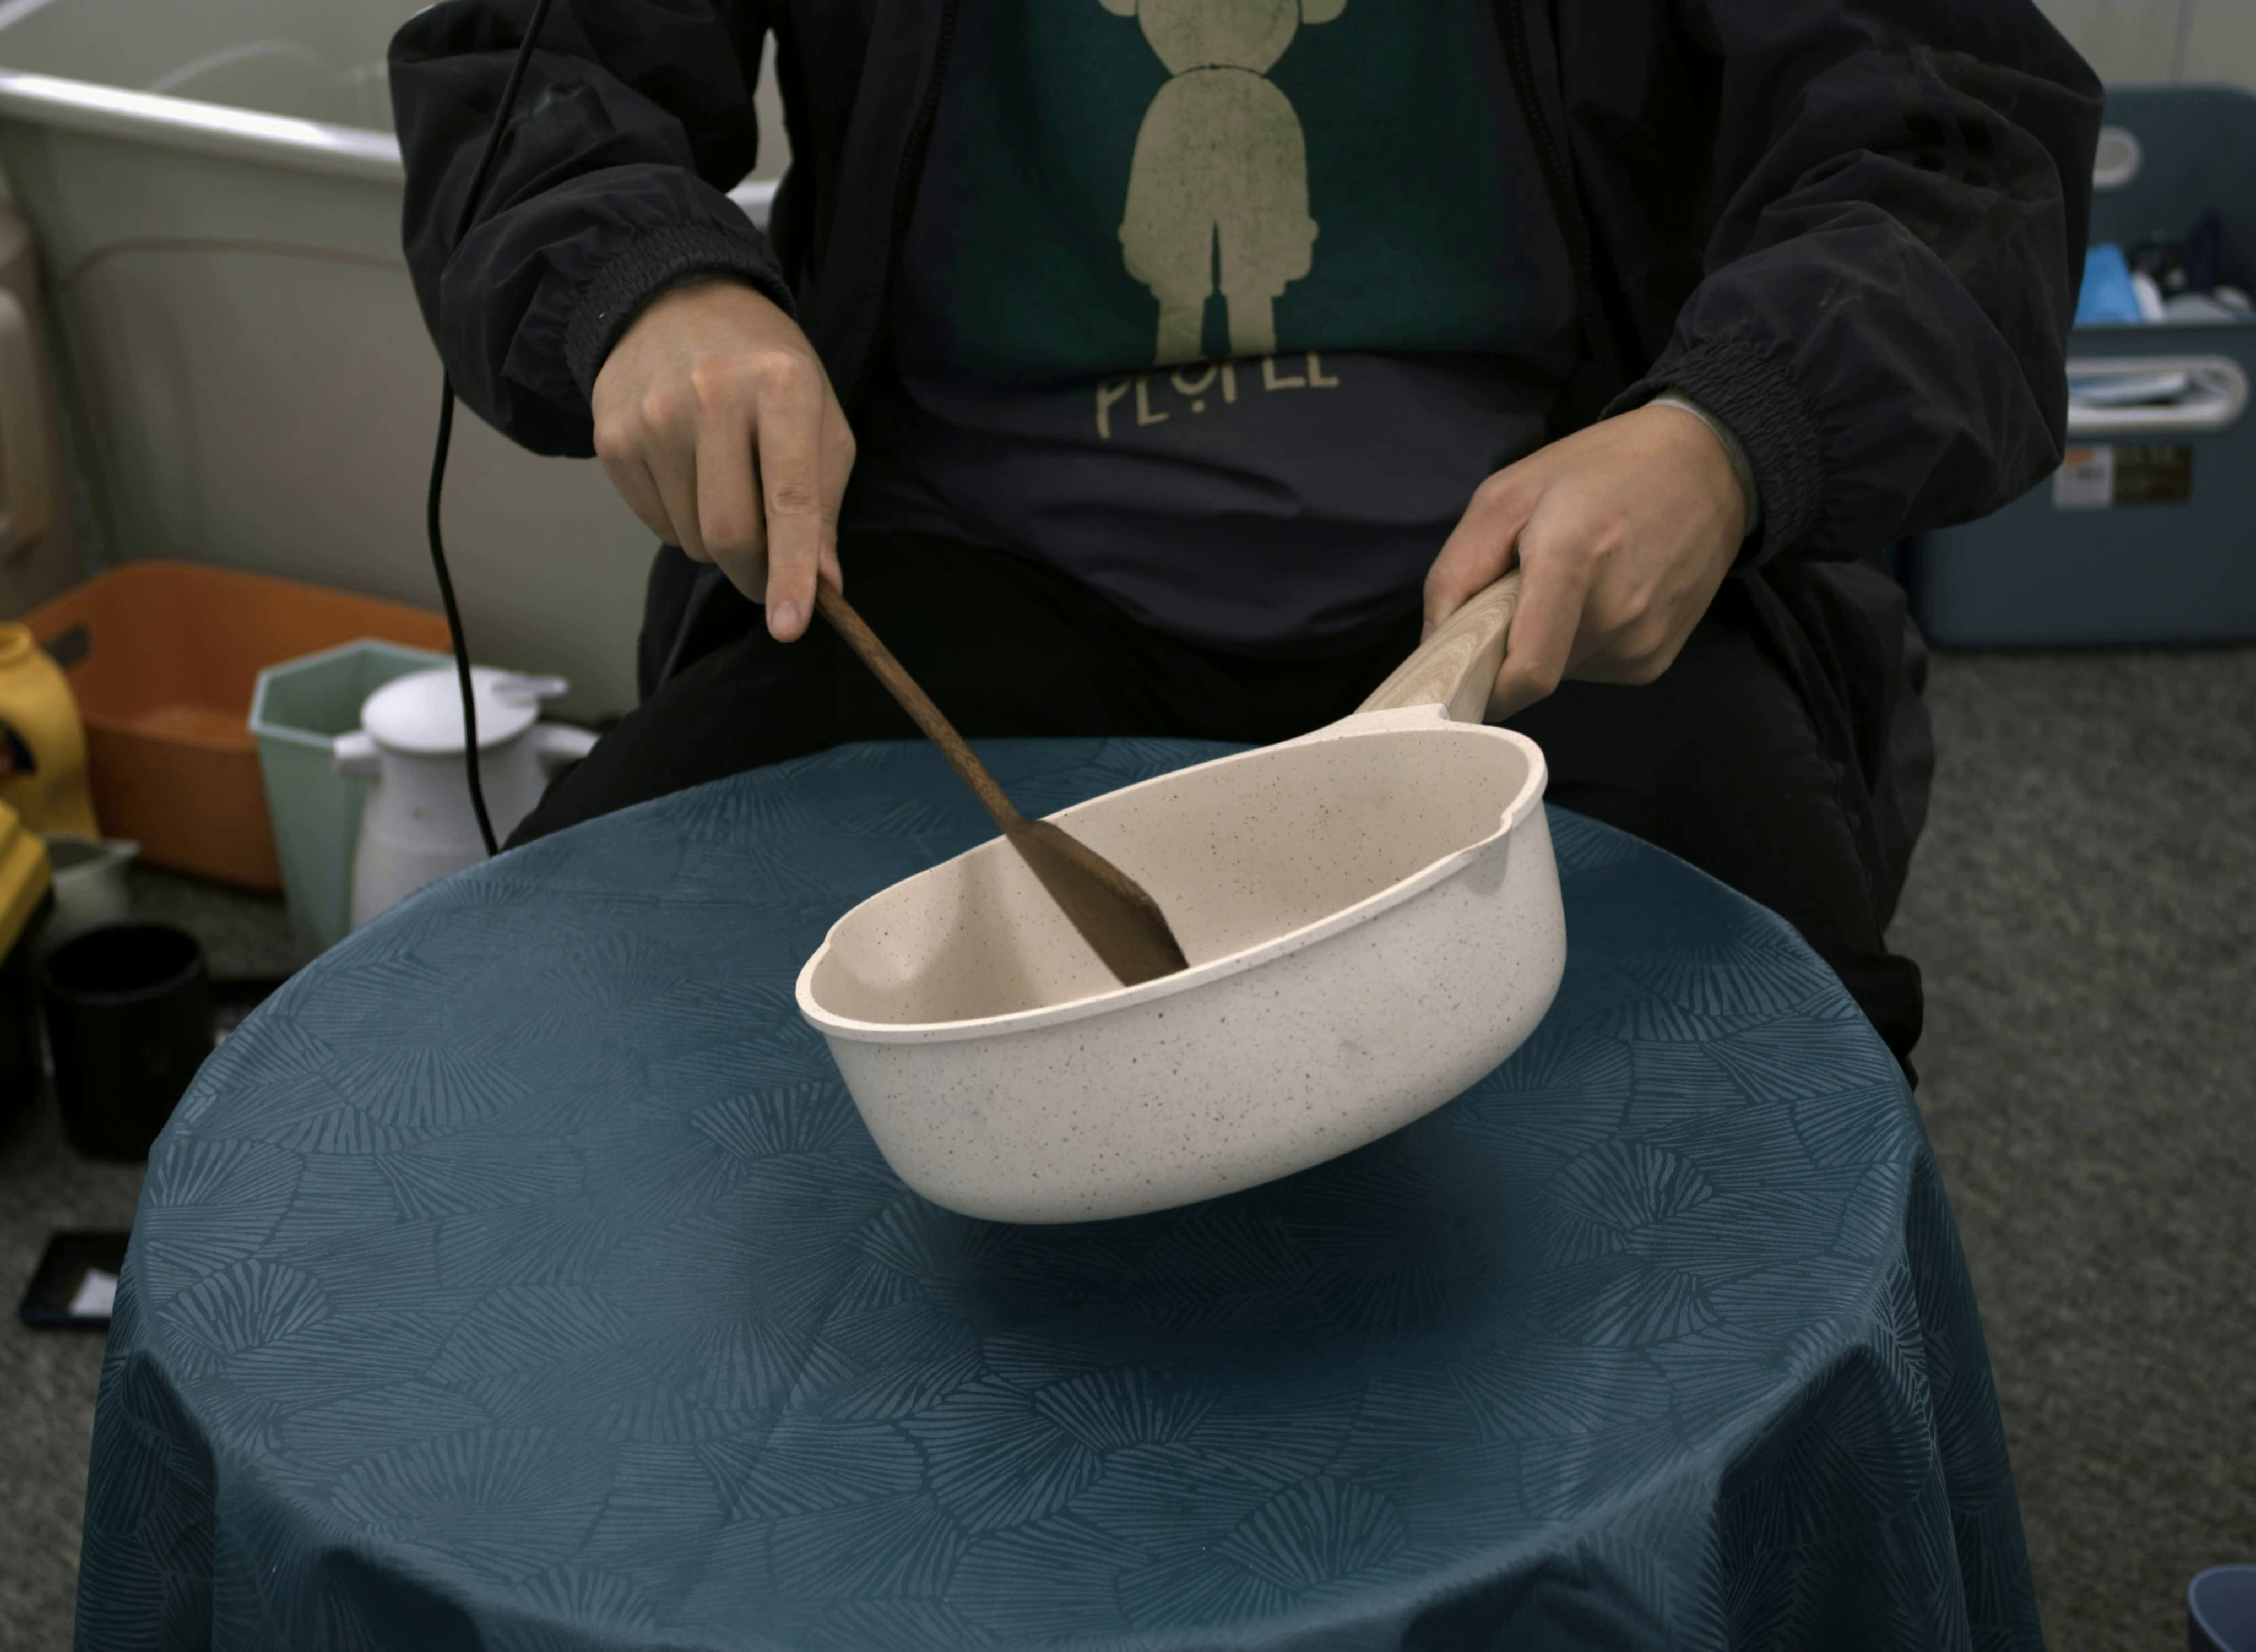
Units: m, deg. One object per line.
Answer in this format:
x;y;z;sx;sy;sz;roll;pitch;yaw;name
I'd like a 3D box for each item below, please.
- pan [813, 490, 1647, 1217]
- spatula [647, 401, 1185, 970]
0.077;0.007;1.867;0.260;0.102;0.441;-10;16;38;pan
-0.072;-0.045;1.923;0.016;0.095;0.389;-35;47;-8;spatula
